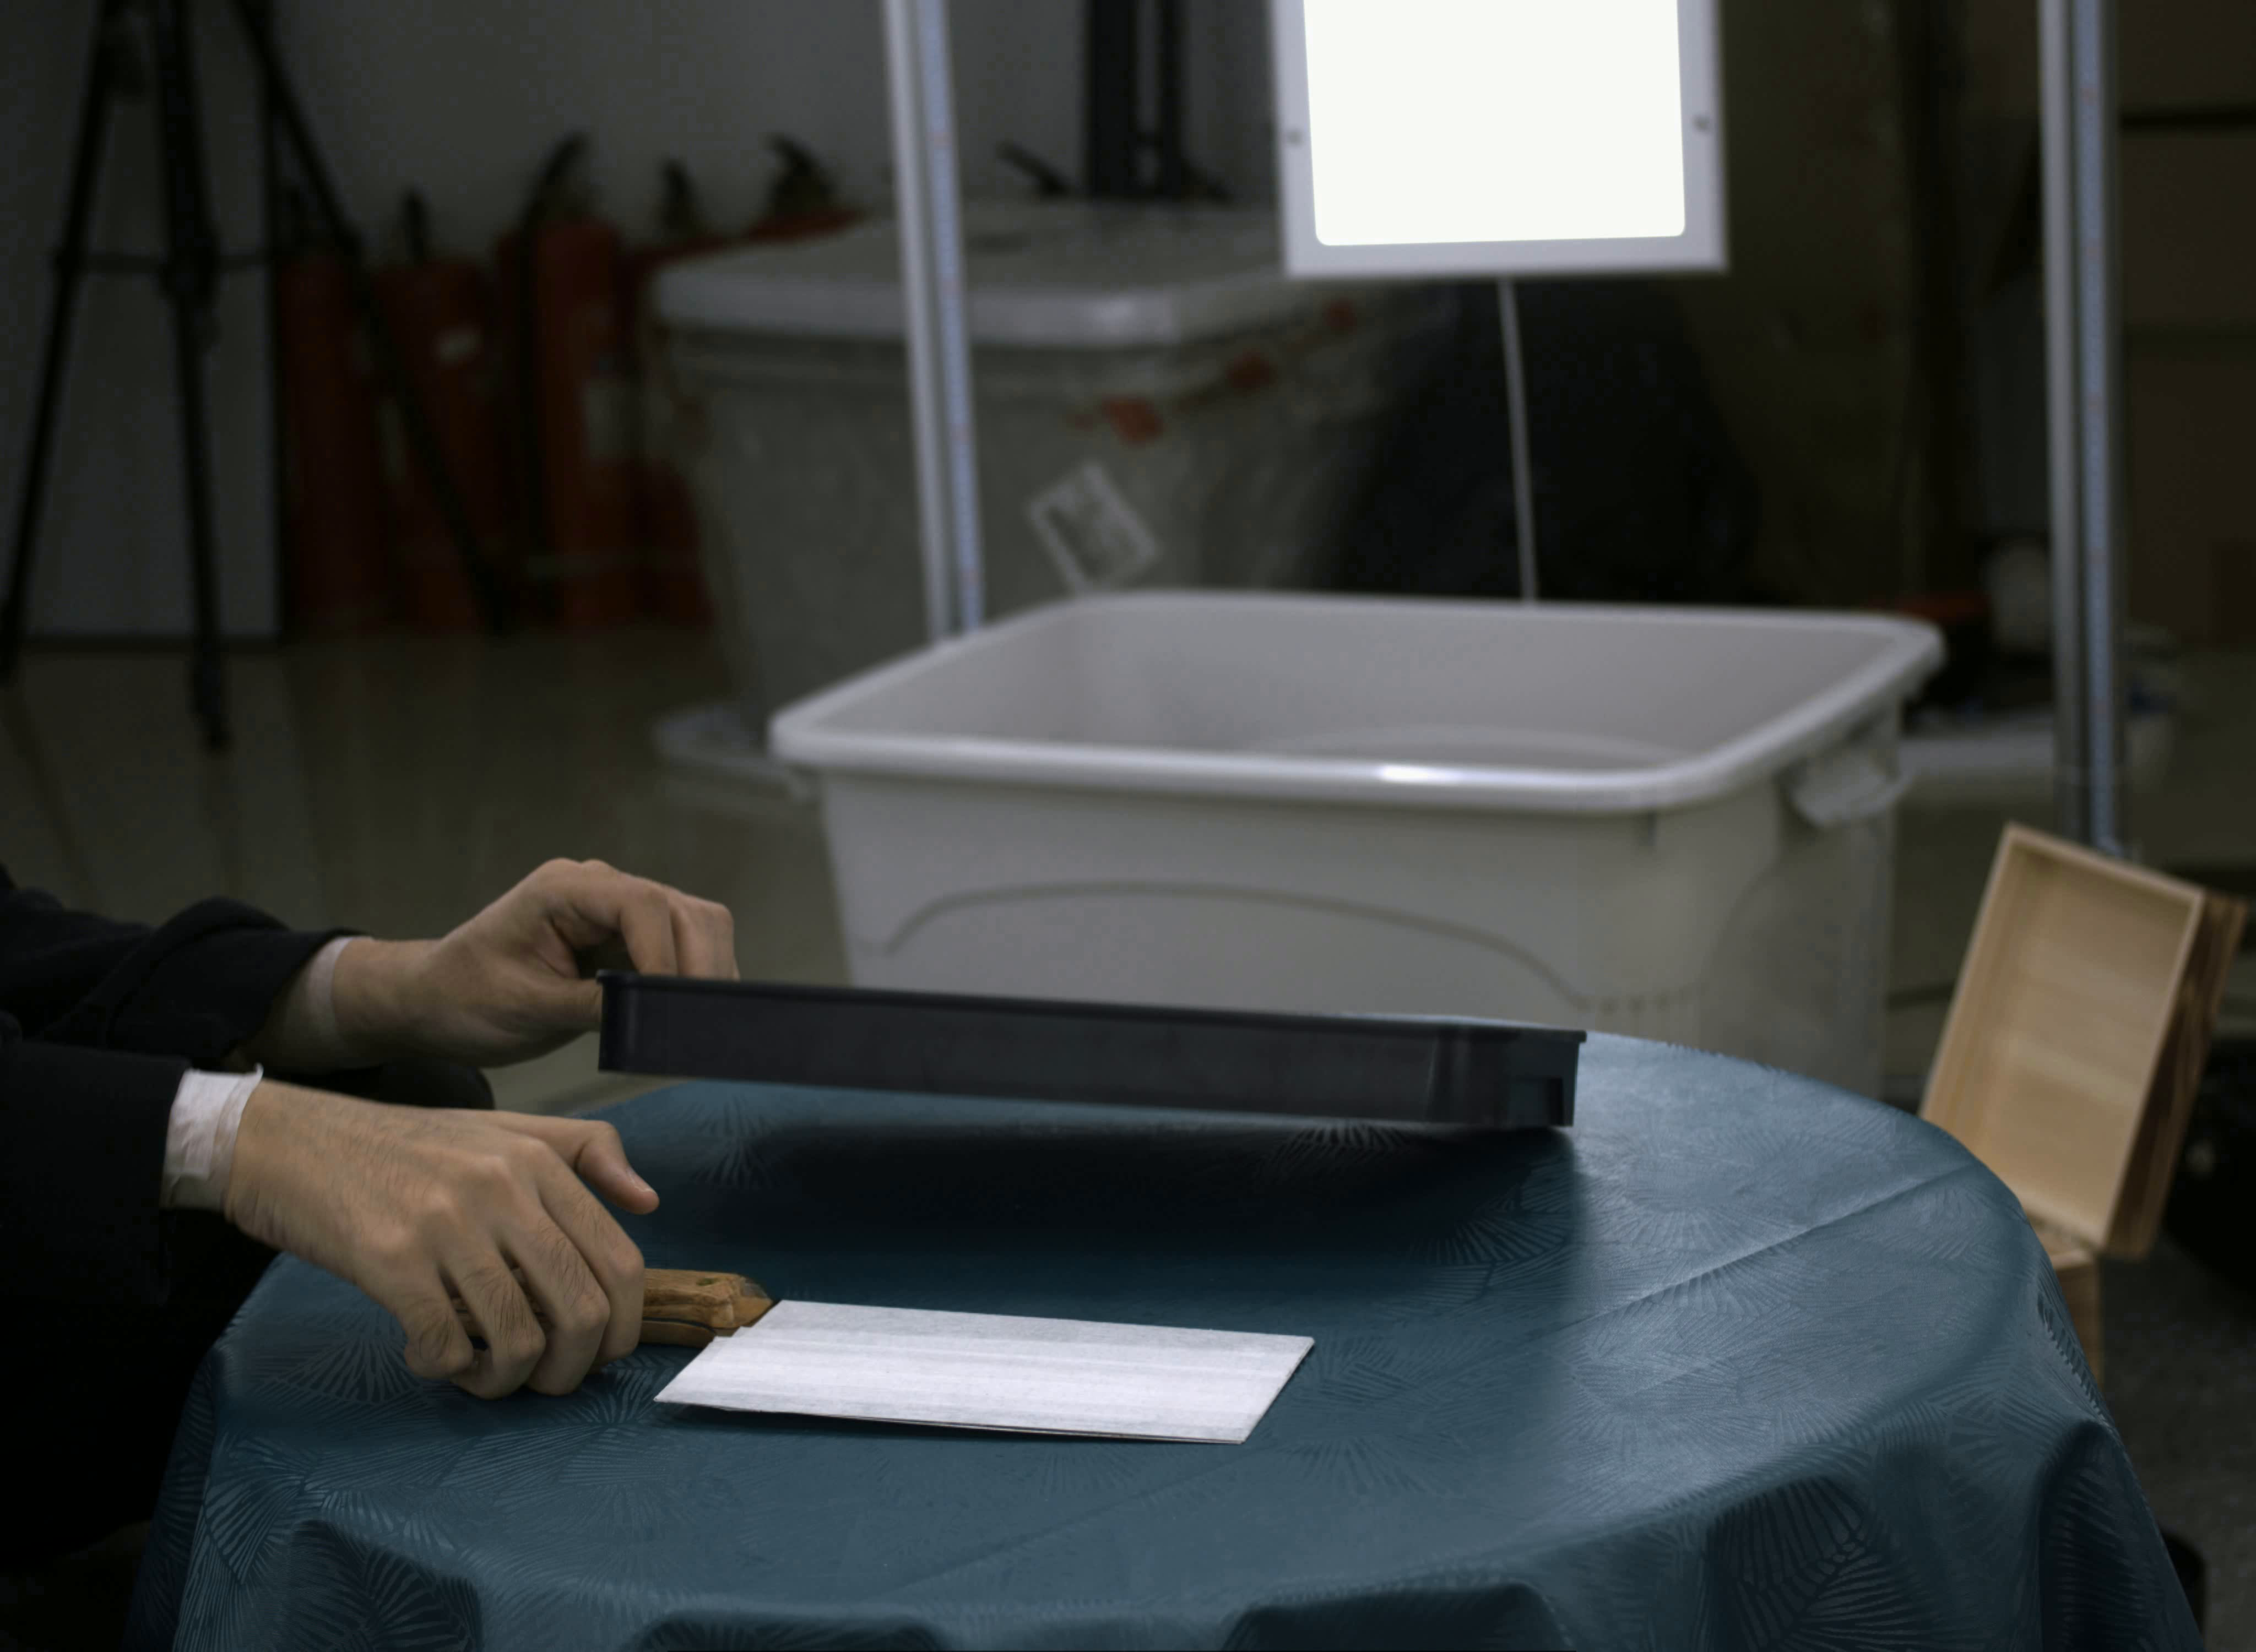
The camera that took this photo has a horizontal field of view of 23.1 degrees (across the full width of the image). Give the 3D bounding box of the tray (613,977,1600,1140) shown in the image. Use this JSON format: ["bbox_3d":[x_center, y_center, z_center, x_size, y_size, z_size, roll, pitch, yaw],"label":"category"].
[{"bbox_3d":[-0.005,0.078,1.886,0.321,0.037,0.182,3,-1,14],"label":"tray"}]

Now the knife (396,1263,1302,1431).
[{"bbox_3d":[-0.098,0.167,1.737,0.309,0.021,0.091,2,17,19],"label":"knife"}]
